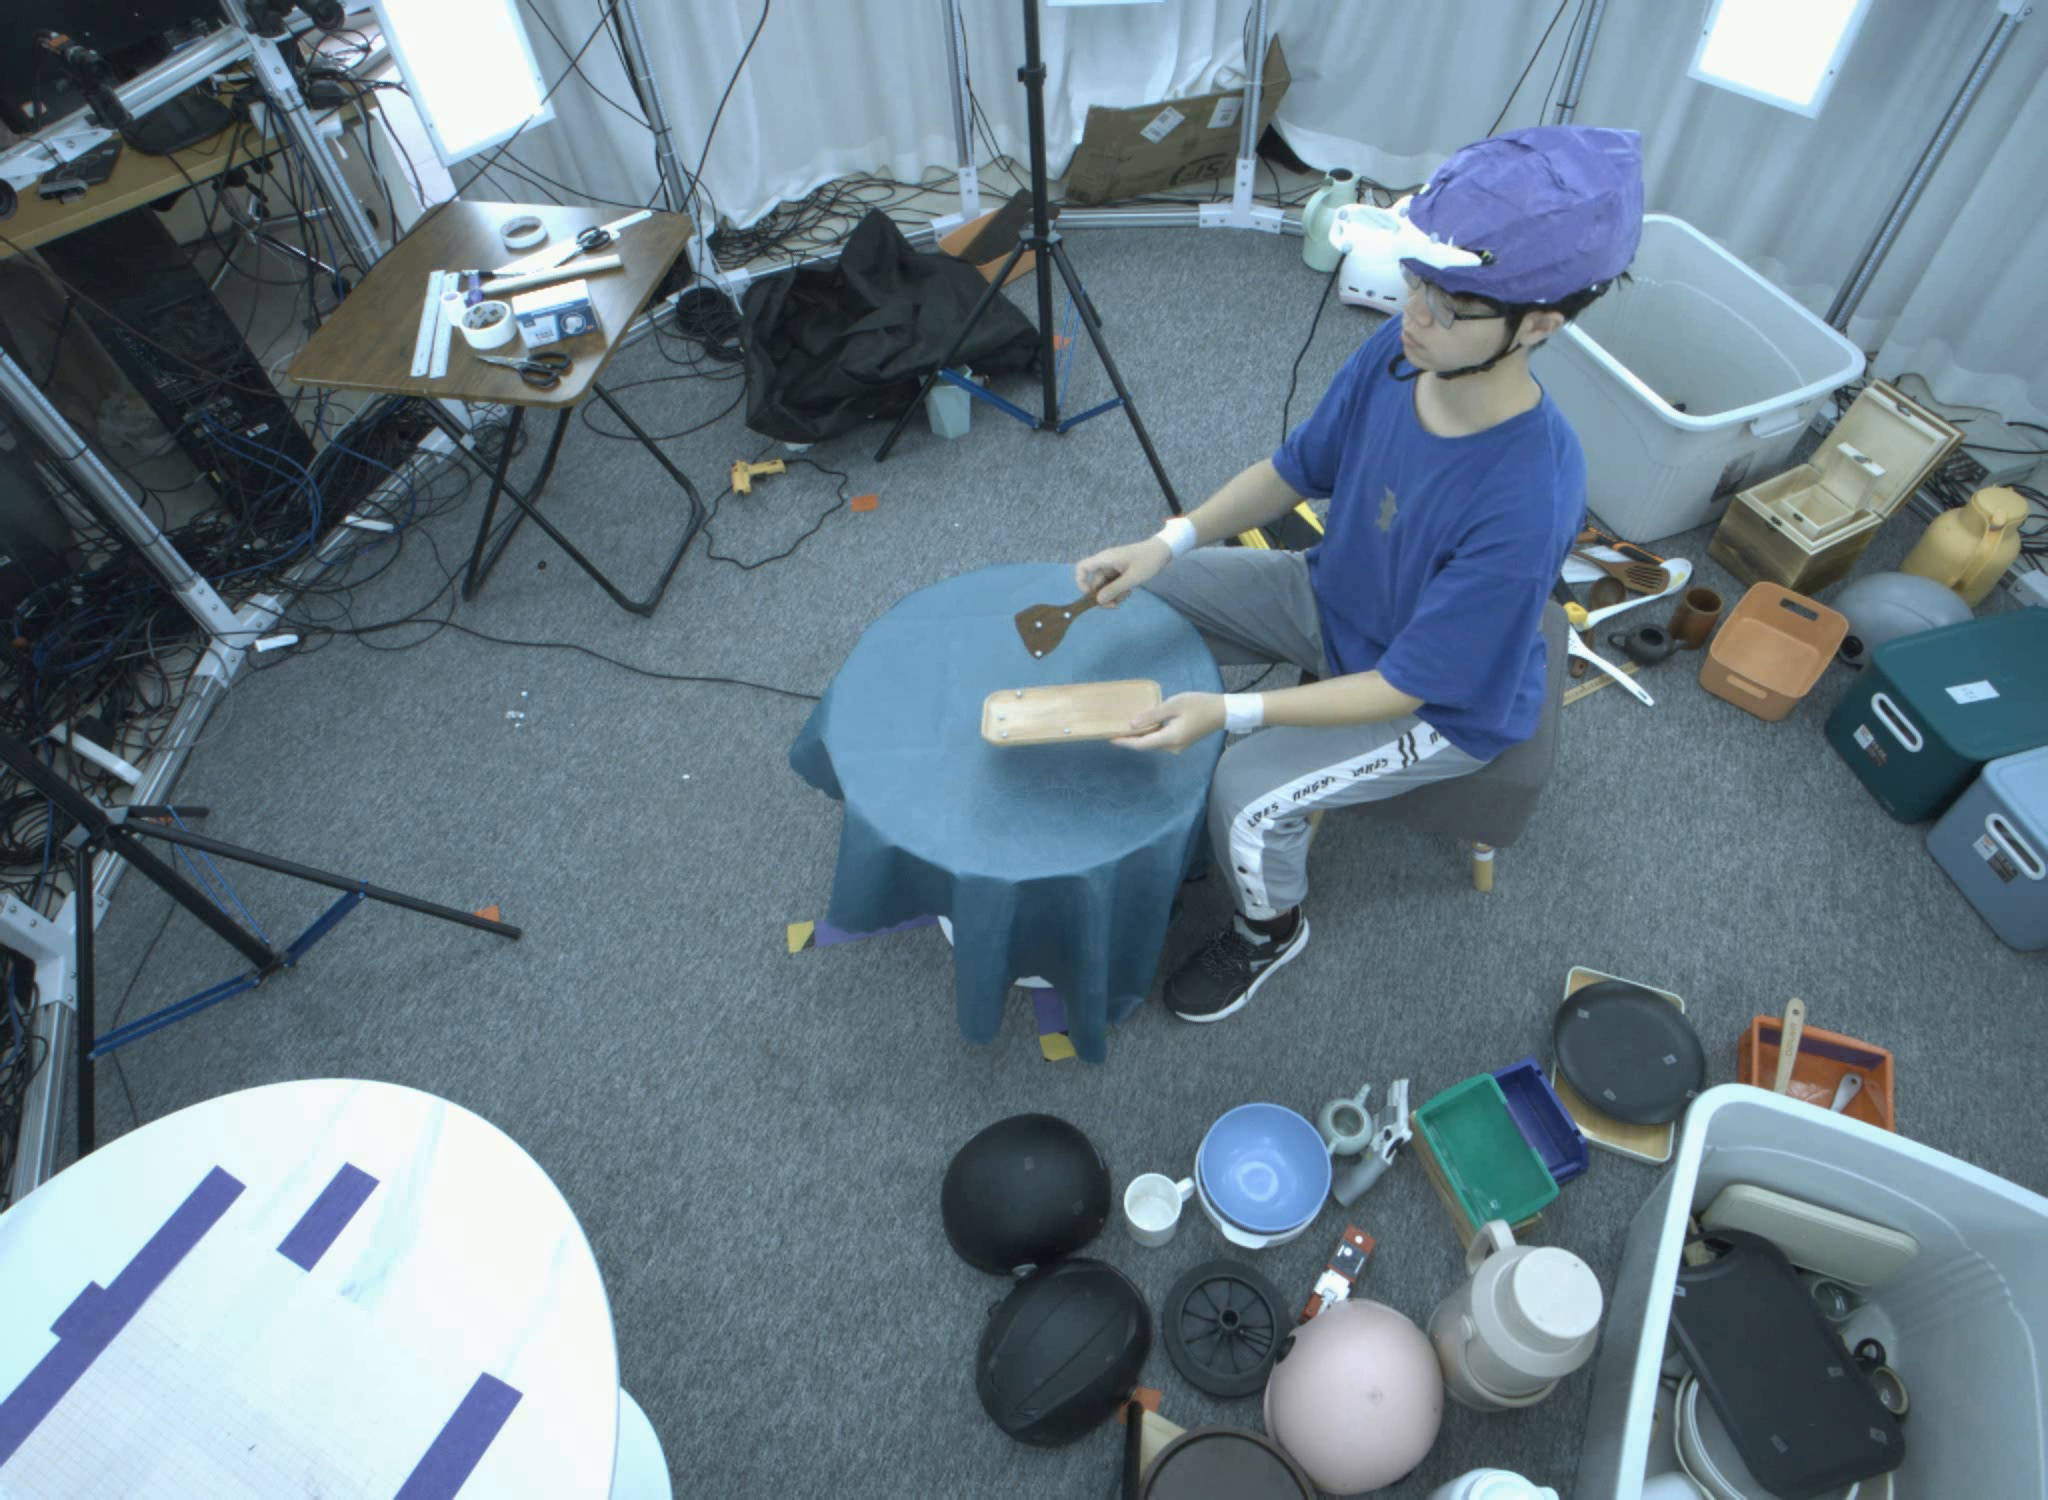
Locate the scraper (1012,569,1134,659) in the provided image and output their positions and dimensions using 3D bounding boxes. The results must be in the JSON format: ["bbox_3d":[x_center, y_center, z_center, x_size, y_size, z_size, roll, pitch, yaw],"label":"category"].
[{"bbox_3d":[0.077,-0.209,1.793,0.213,0.010,0.076,-32,102,-23],"label":"scraper"}]

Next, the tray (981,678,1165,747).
[{"bbox_3d":[0.068,-0.052,1.696,0.250,0.023,0.129,-3,39,4],"label":"tray"}]
